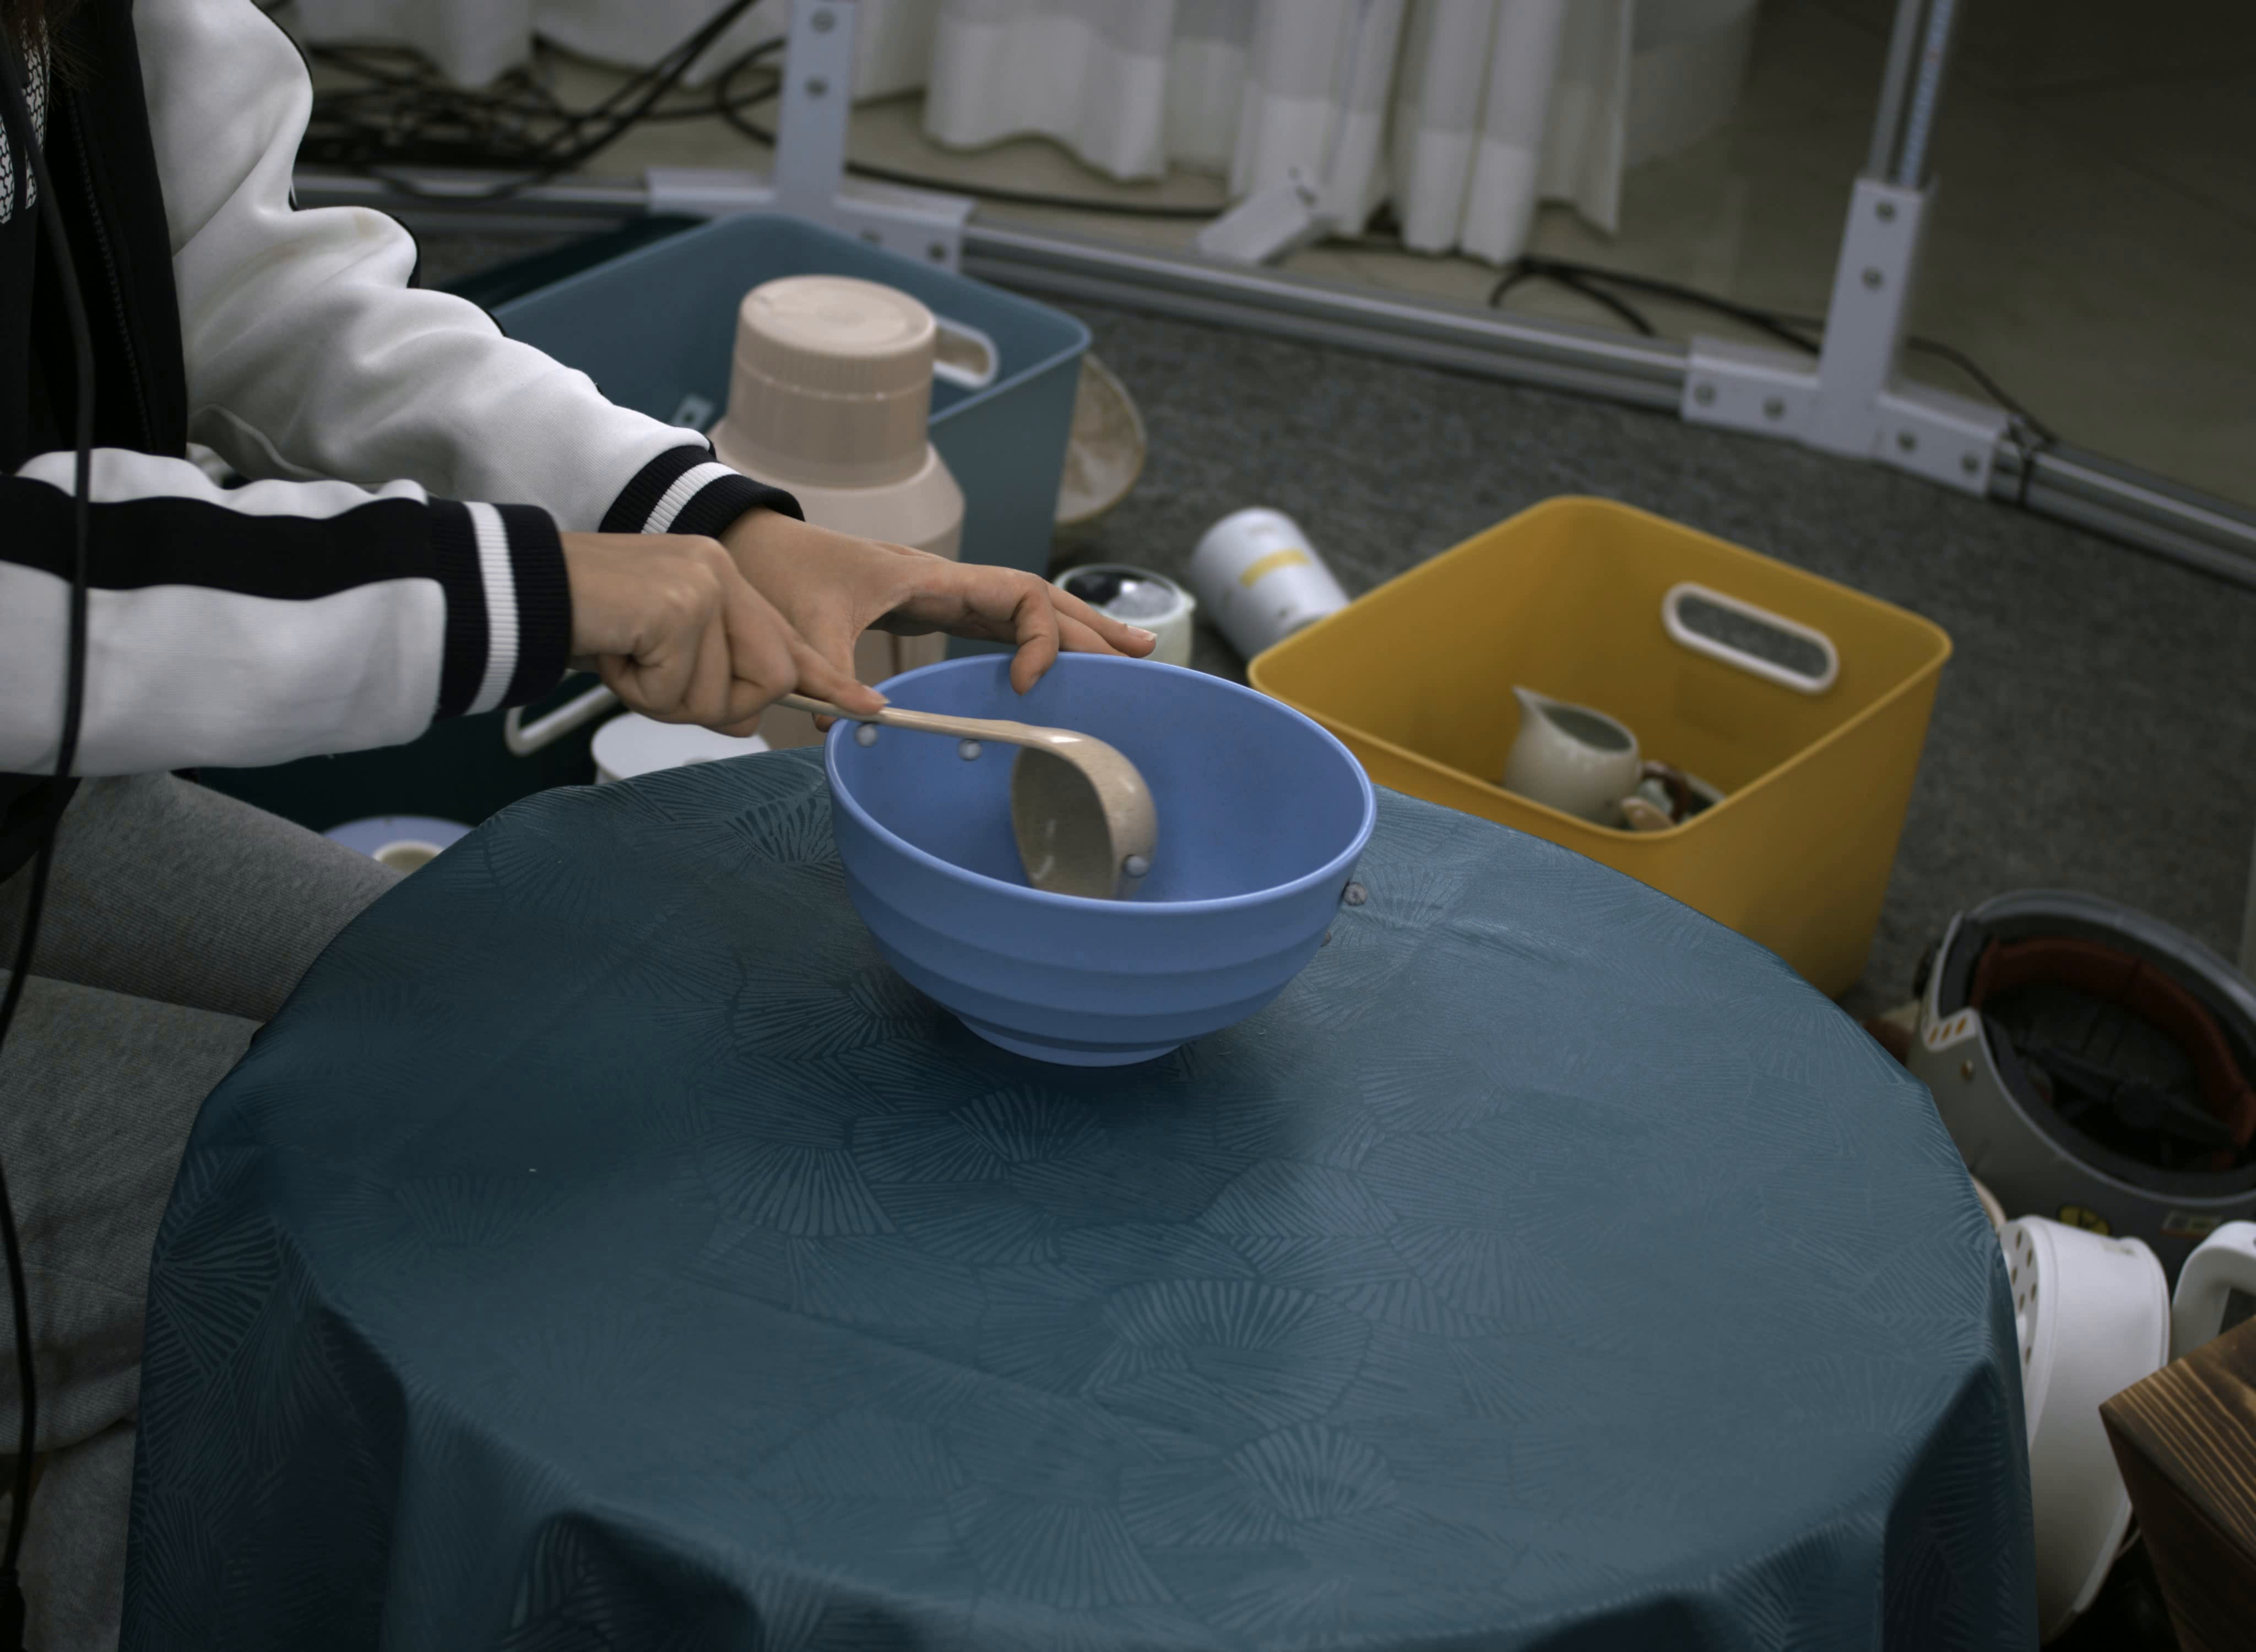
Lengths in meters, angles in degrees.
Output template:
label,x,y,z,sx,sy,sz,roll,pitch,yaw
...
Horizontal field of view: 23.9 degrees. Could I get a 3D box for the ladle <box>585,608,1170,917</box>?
label,x,y,z,sx,sy,sz,roll,pitch,yaw
ladle,-0.095,-0.016,1.869,0.252,0.073,0.073,13,15,-36

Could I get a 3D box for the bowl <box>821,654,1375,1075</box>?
label,x,y,z,sx,sy,sz,roll,pitch,yaw
bowl,-0.014,0.025,1.895,0.196,0.095,0.198,4,28,-3
